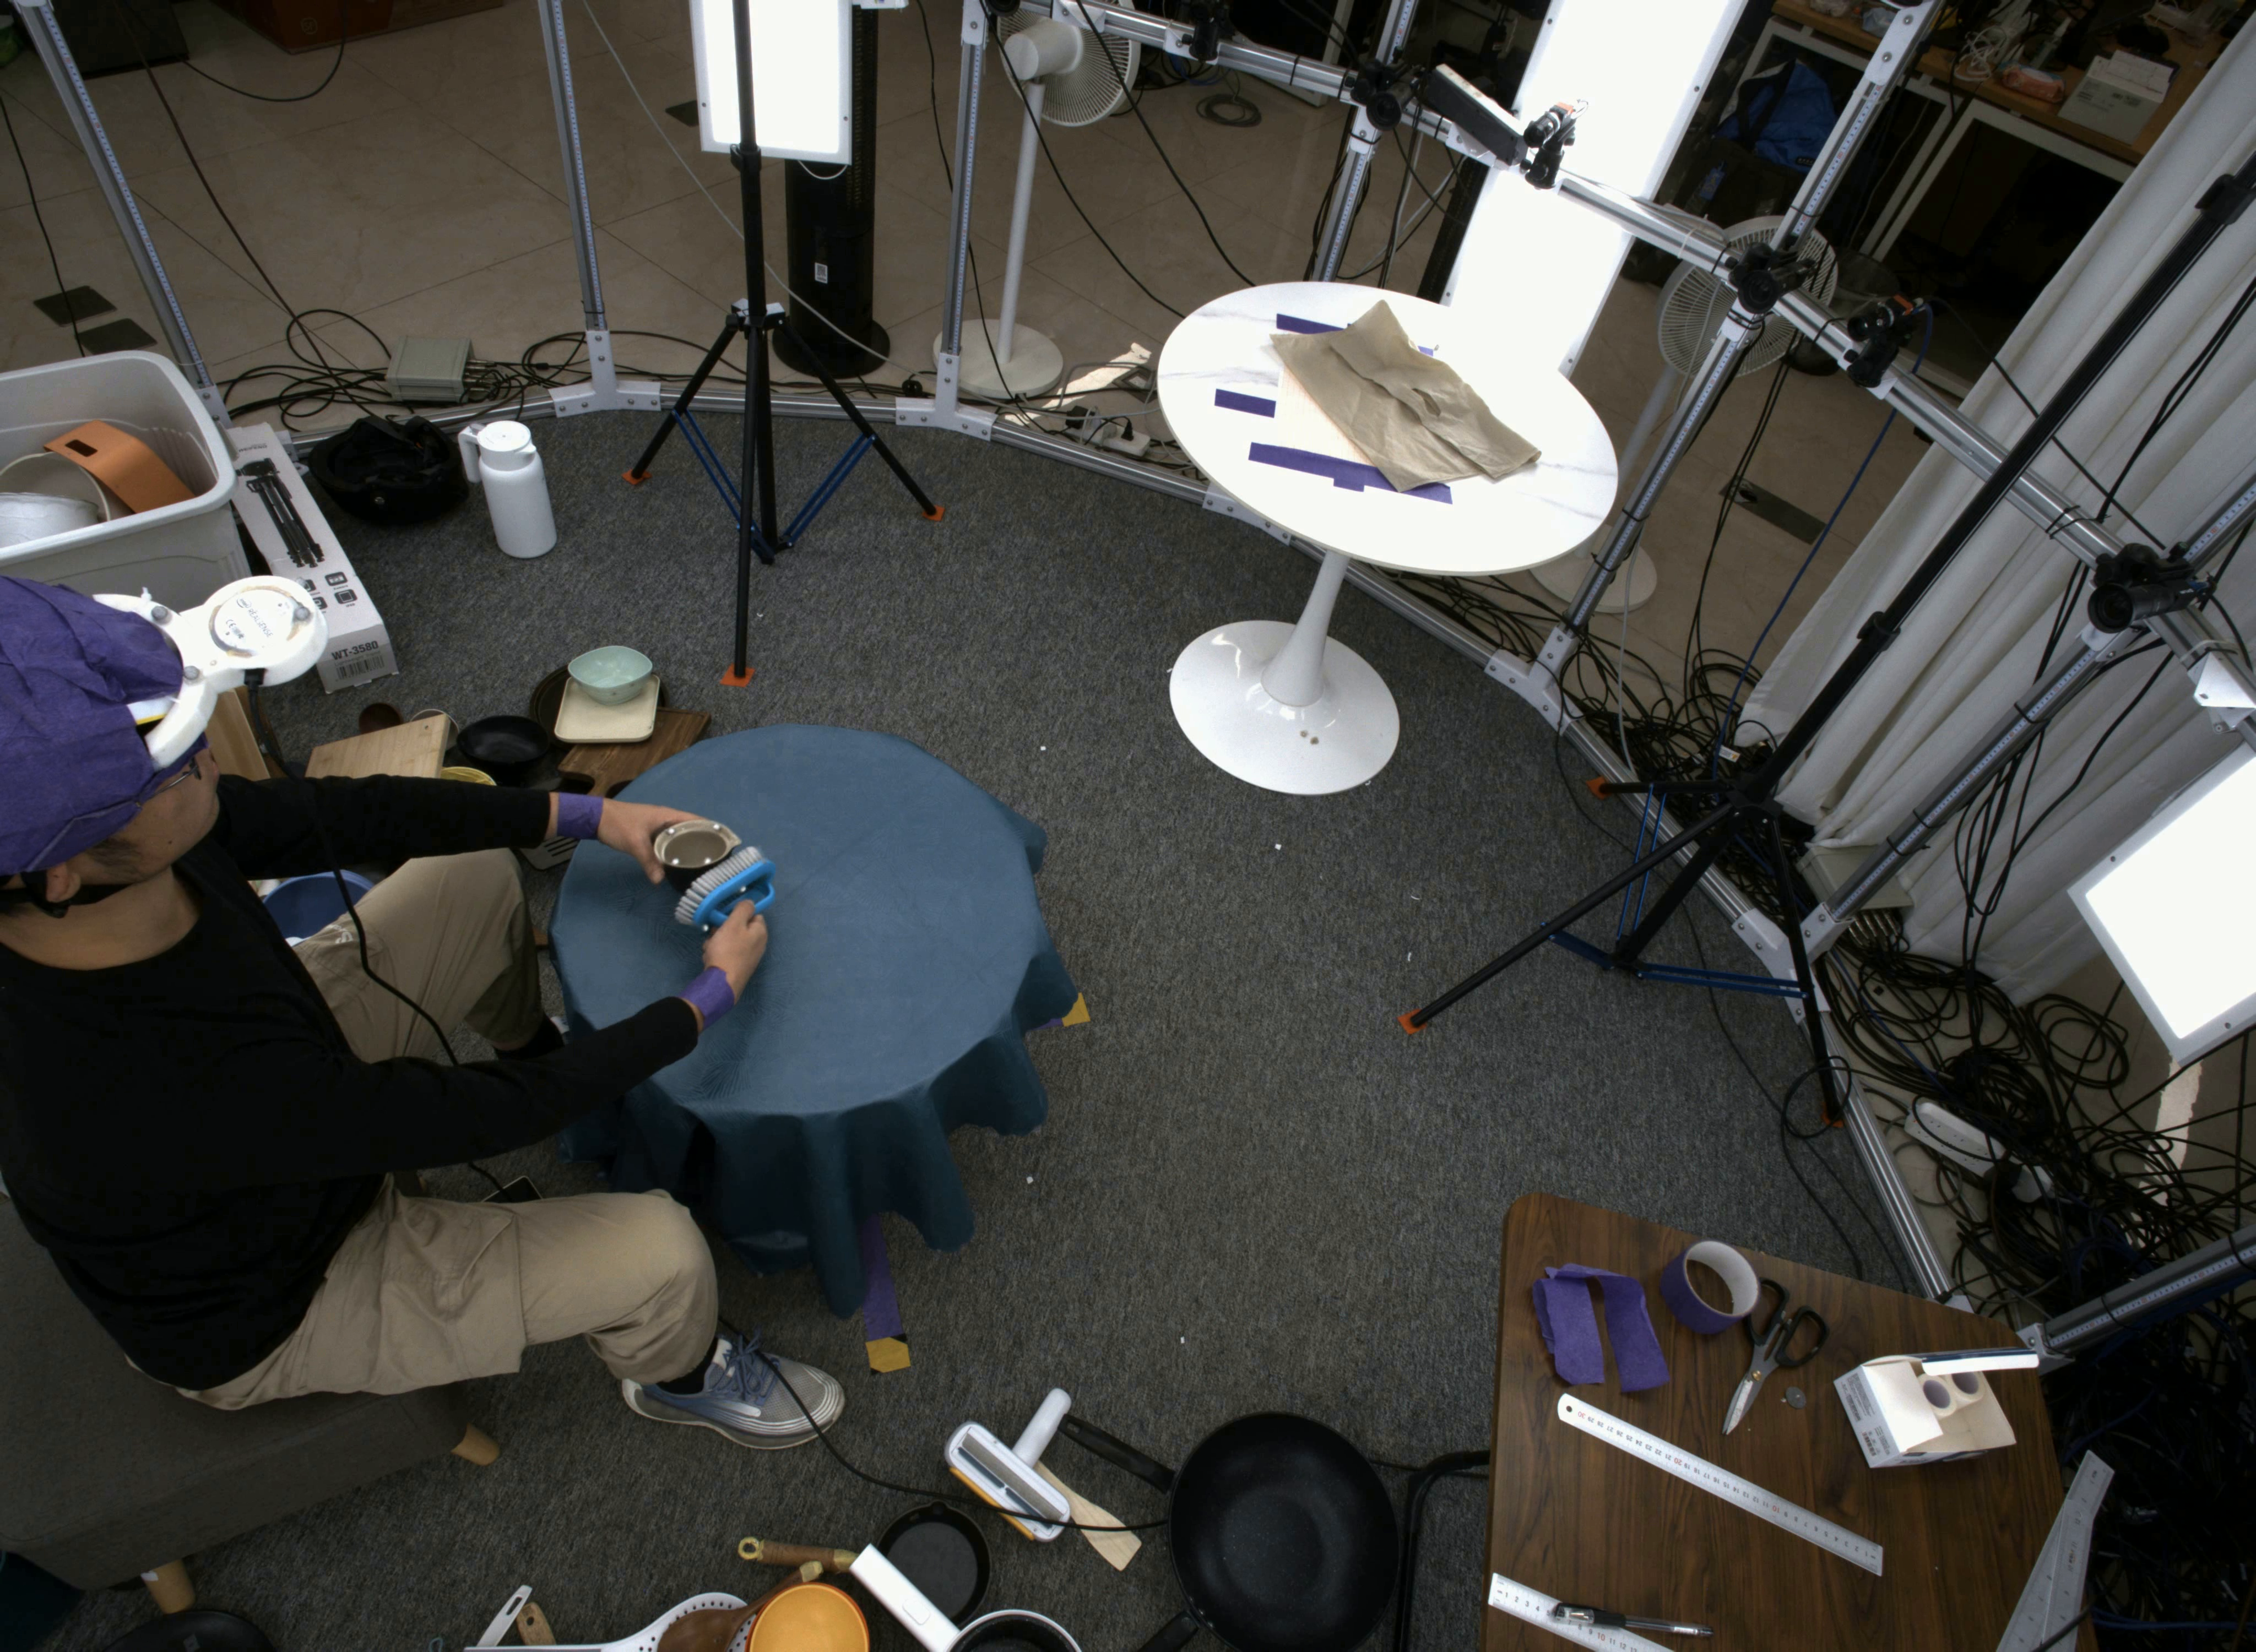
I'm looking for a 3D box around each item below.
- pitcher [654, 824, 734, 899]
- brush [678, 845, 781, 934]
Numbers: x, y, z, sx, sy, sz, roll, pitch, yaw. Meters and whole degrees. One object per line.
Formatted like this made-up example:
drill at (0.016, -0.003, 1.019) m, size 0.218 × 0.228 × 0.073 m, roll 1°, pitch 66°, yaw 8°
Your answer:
pitcher at (-0.523, 0.045, 1.561) m, size 0.096 × 0.073 × 0.081 m, roll 1°, pitch 36°, yaw -10°
brush at (-0.467, 0.083, 1.550) m, size 0.063 × 0.085 × 0.142 m, roll 38°, pitch 37°, yaw 10°
